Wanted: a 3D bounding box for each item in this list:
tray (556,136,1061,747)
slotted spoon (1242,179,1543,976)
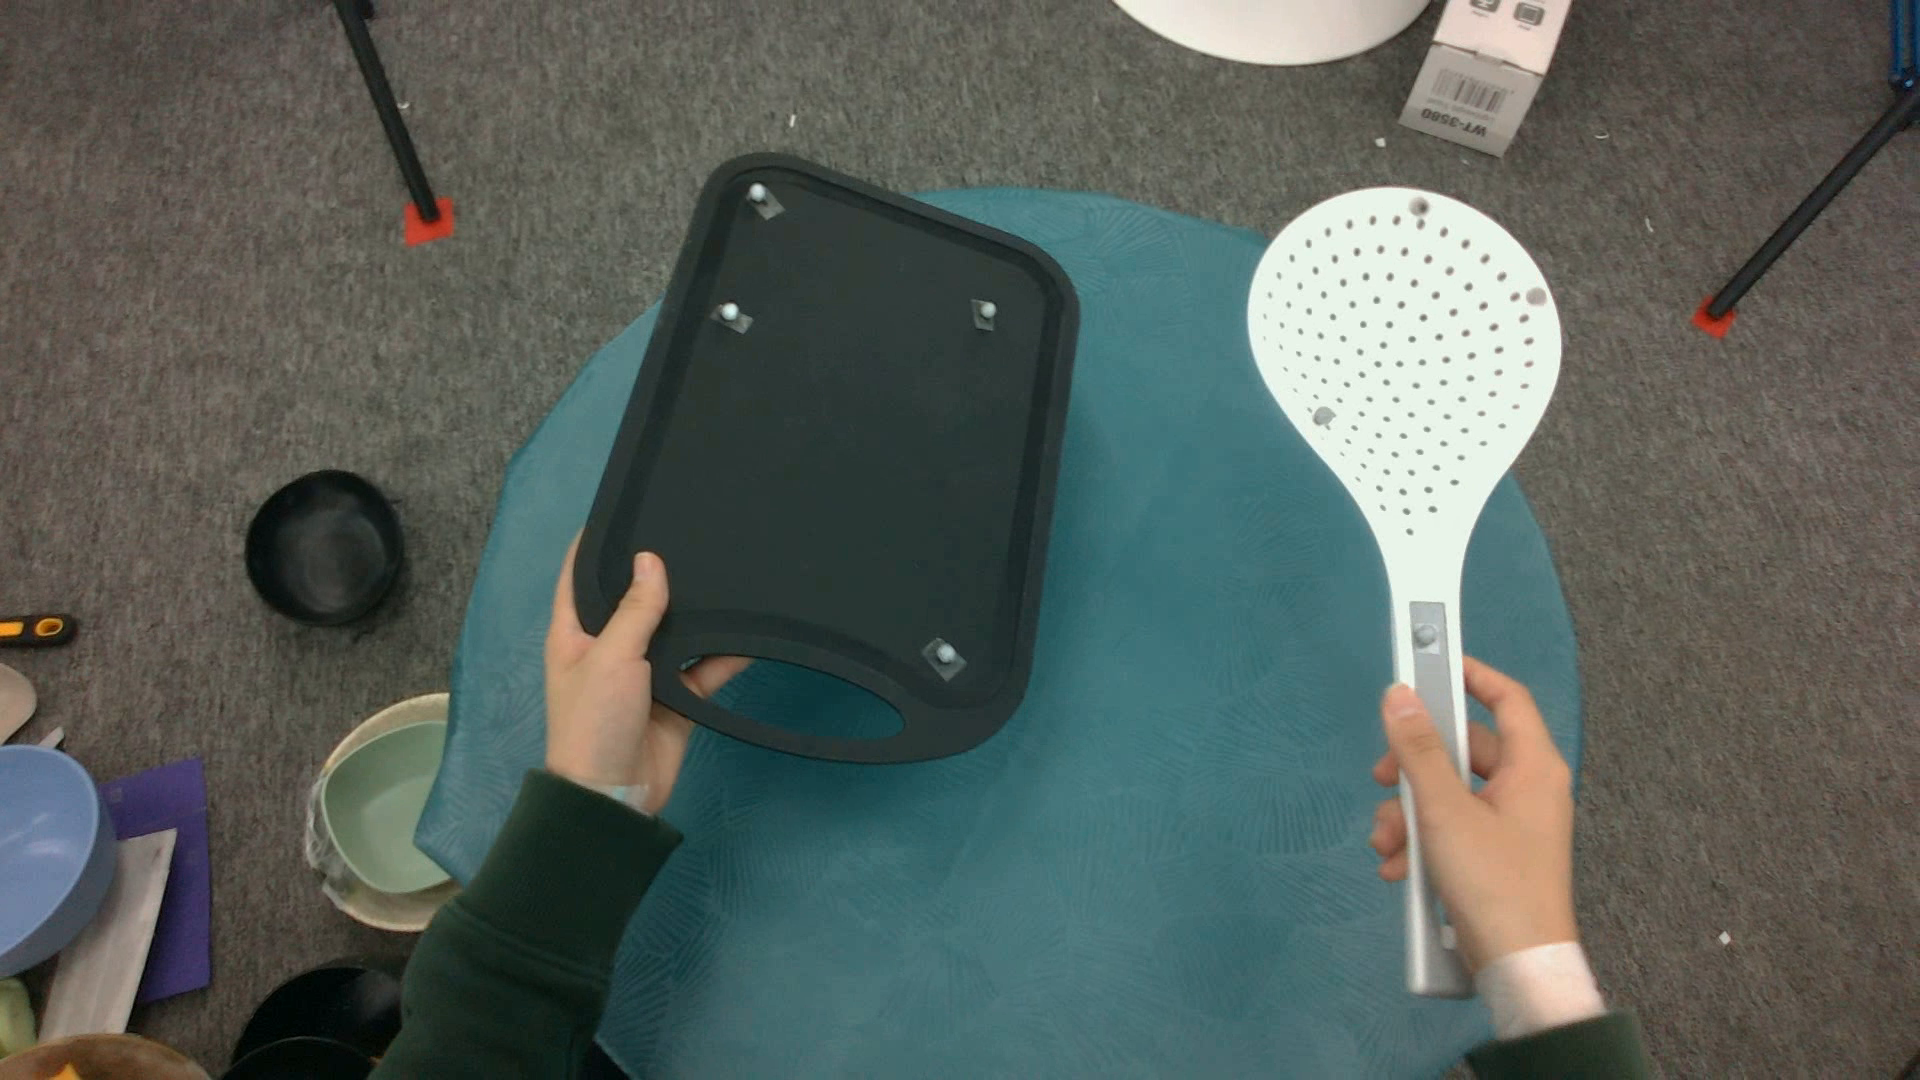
[{"bbox_3d":[-0.059,-0.057,0.659,0.211,0.010,0.327,16,58,-12],"label":"tray"},{"bbox_3d":[0.191,0.003,0.591,0.136,0.045,0.351,2,68,-1],"label":"slotted spoon"}]
